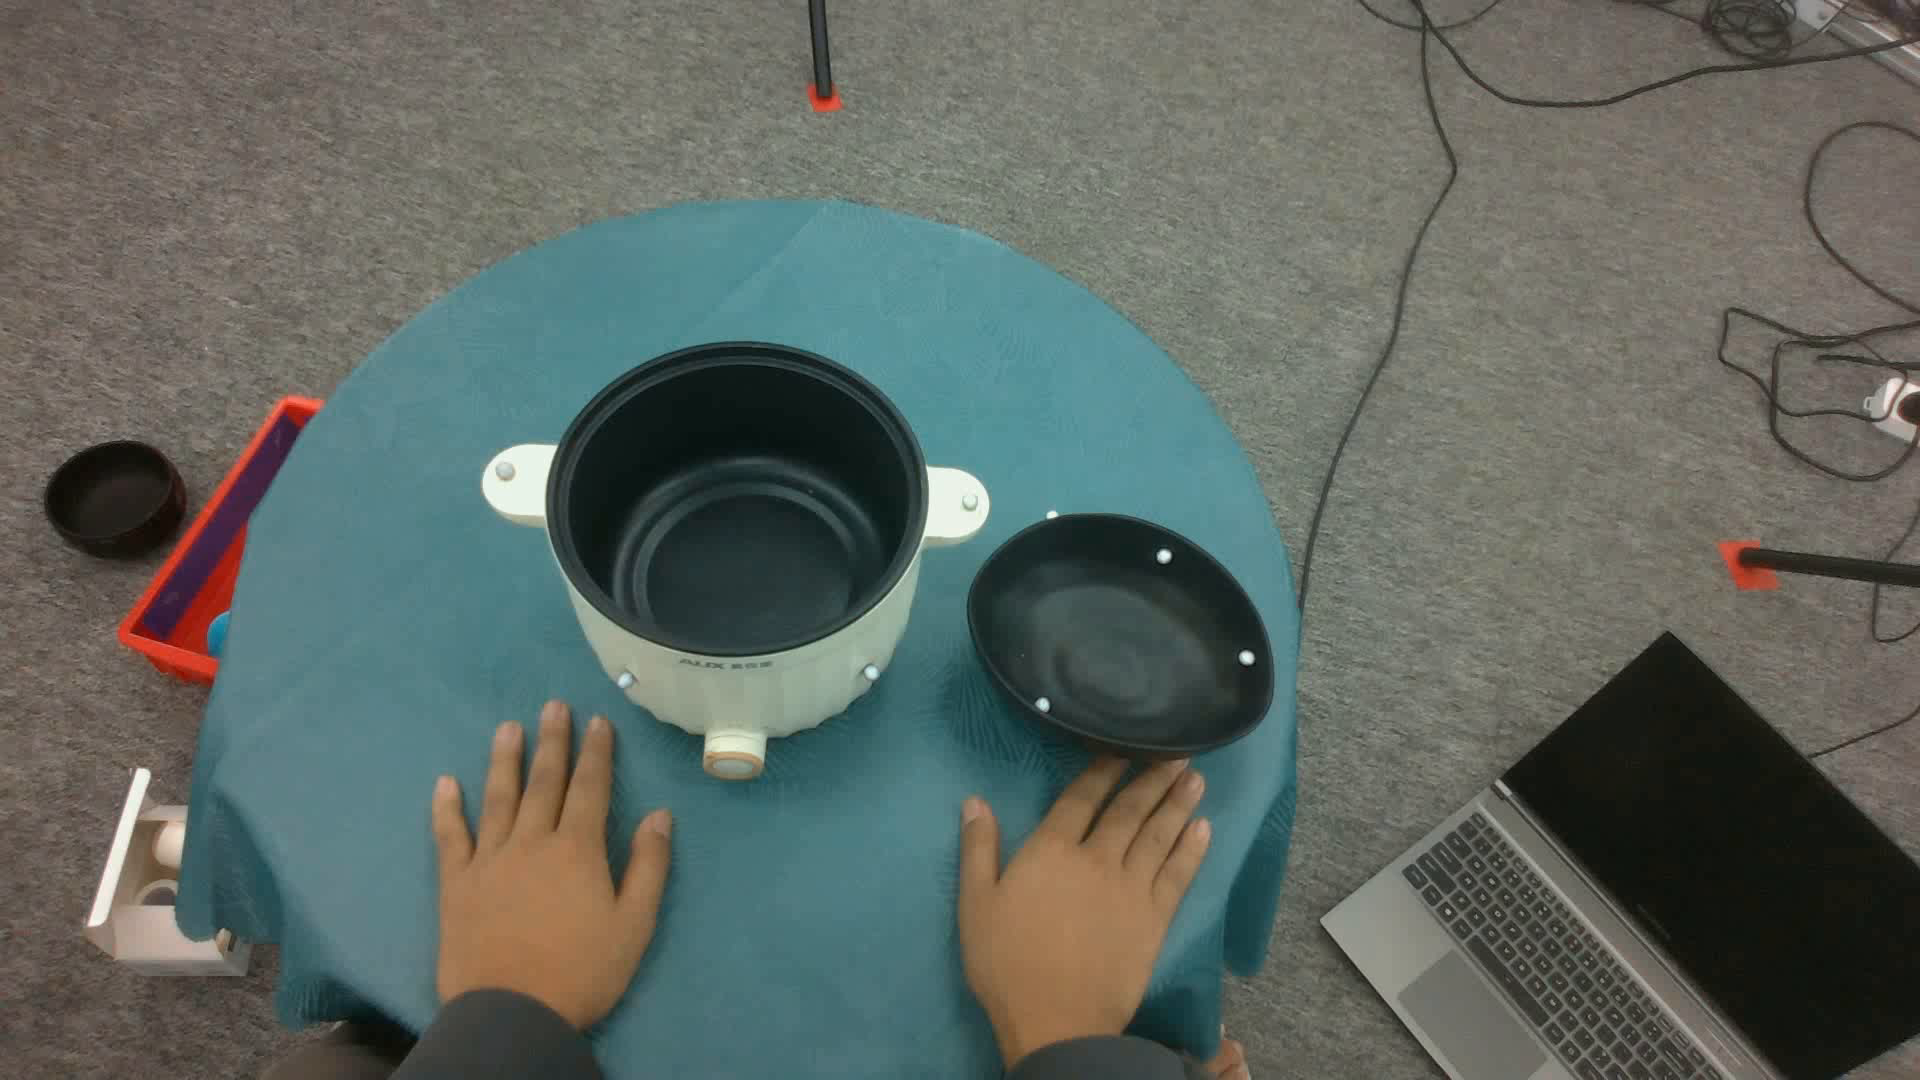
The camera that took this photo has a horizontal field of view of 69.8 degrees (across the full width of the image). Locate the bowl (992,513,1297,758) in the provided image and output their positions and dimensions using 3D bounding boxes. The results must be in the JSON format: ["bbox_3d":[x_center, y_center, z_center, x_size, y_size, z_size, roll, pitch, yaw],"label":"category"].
[{"bbox_3d":[0.099,0.060,0.758,0.170,0.066,0.138,17,59,6],"label":"bowl"}]

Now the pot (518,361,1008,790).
[{"bbox_3d":[-0.097,0.022,0.728,0.240,0.142,0.191,-1,55,-3],"label":"pot"}]
